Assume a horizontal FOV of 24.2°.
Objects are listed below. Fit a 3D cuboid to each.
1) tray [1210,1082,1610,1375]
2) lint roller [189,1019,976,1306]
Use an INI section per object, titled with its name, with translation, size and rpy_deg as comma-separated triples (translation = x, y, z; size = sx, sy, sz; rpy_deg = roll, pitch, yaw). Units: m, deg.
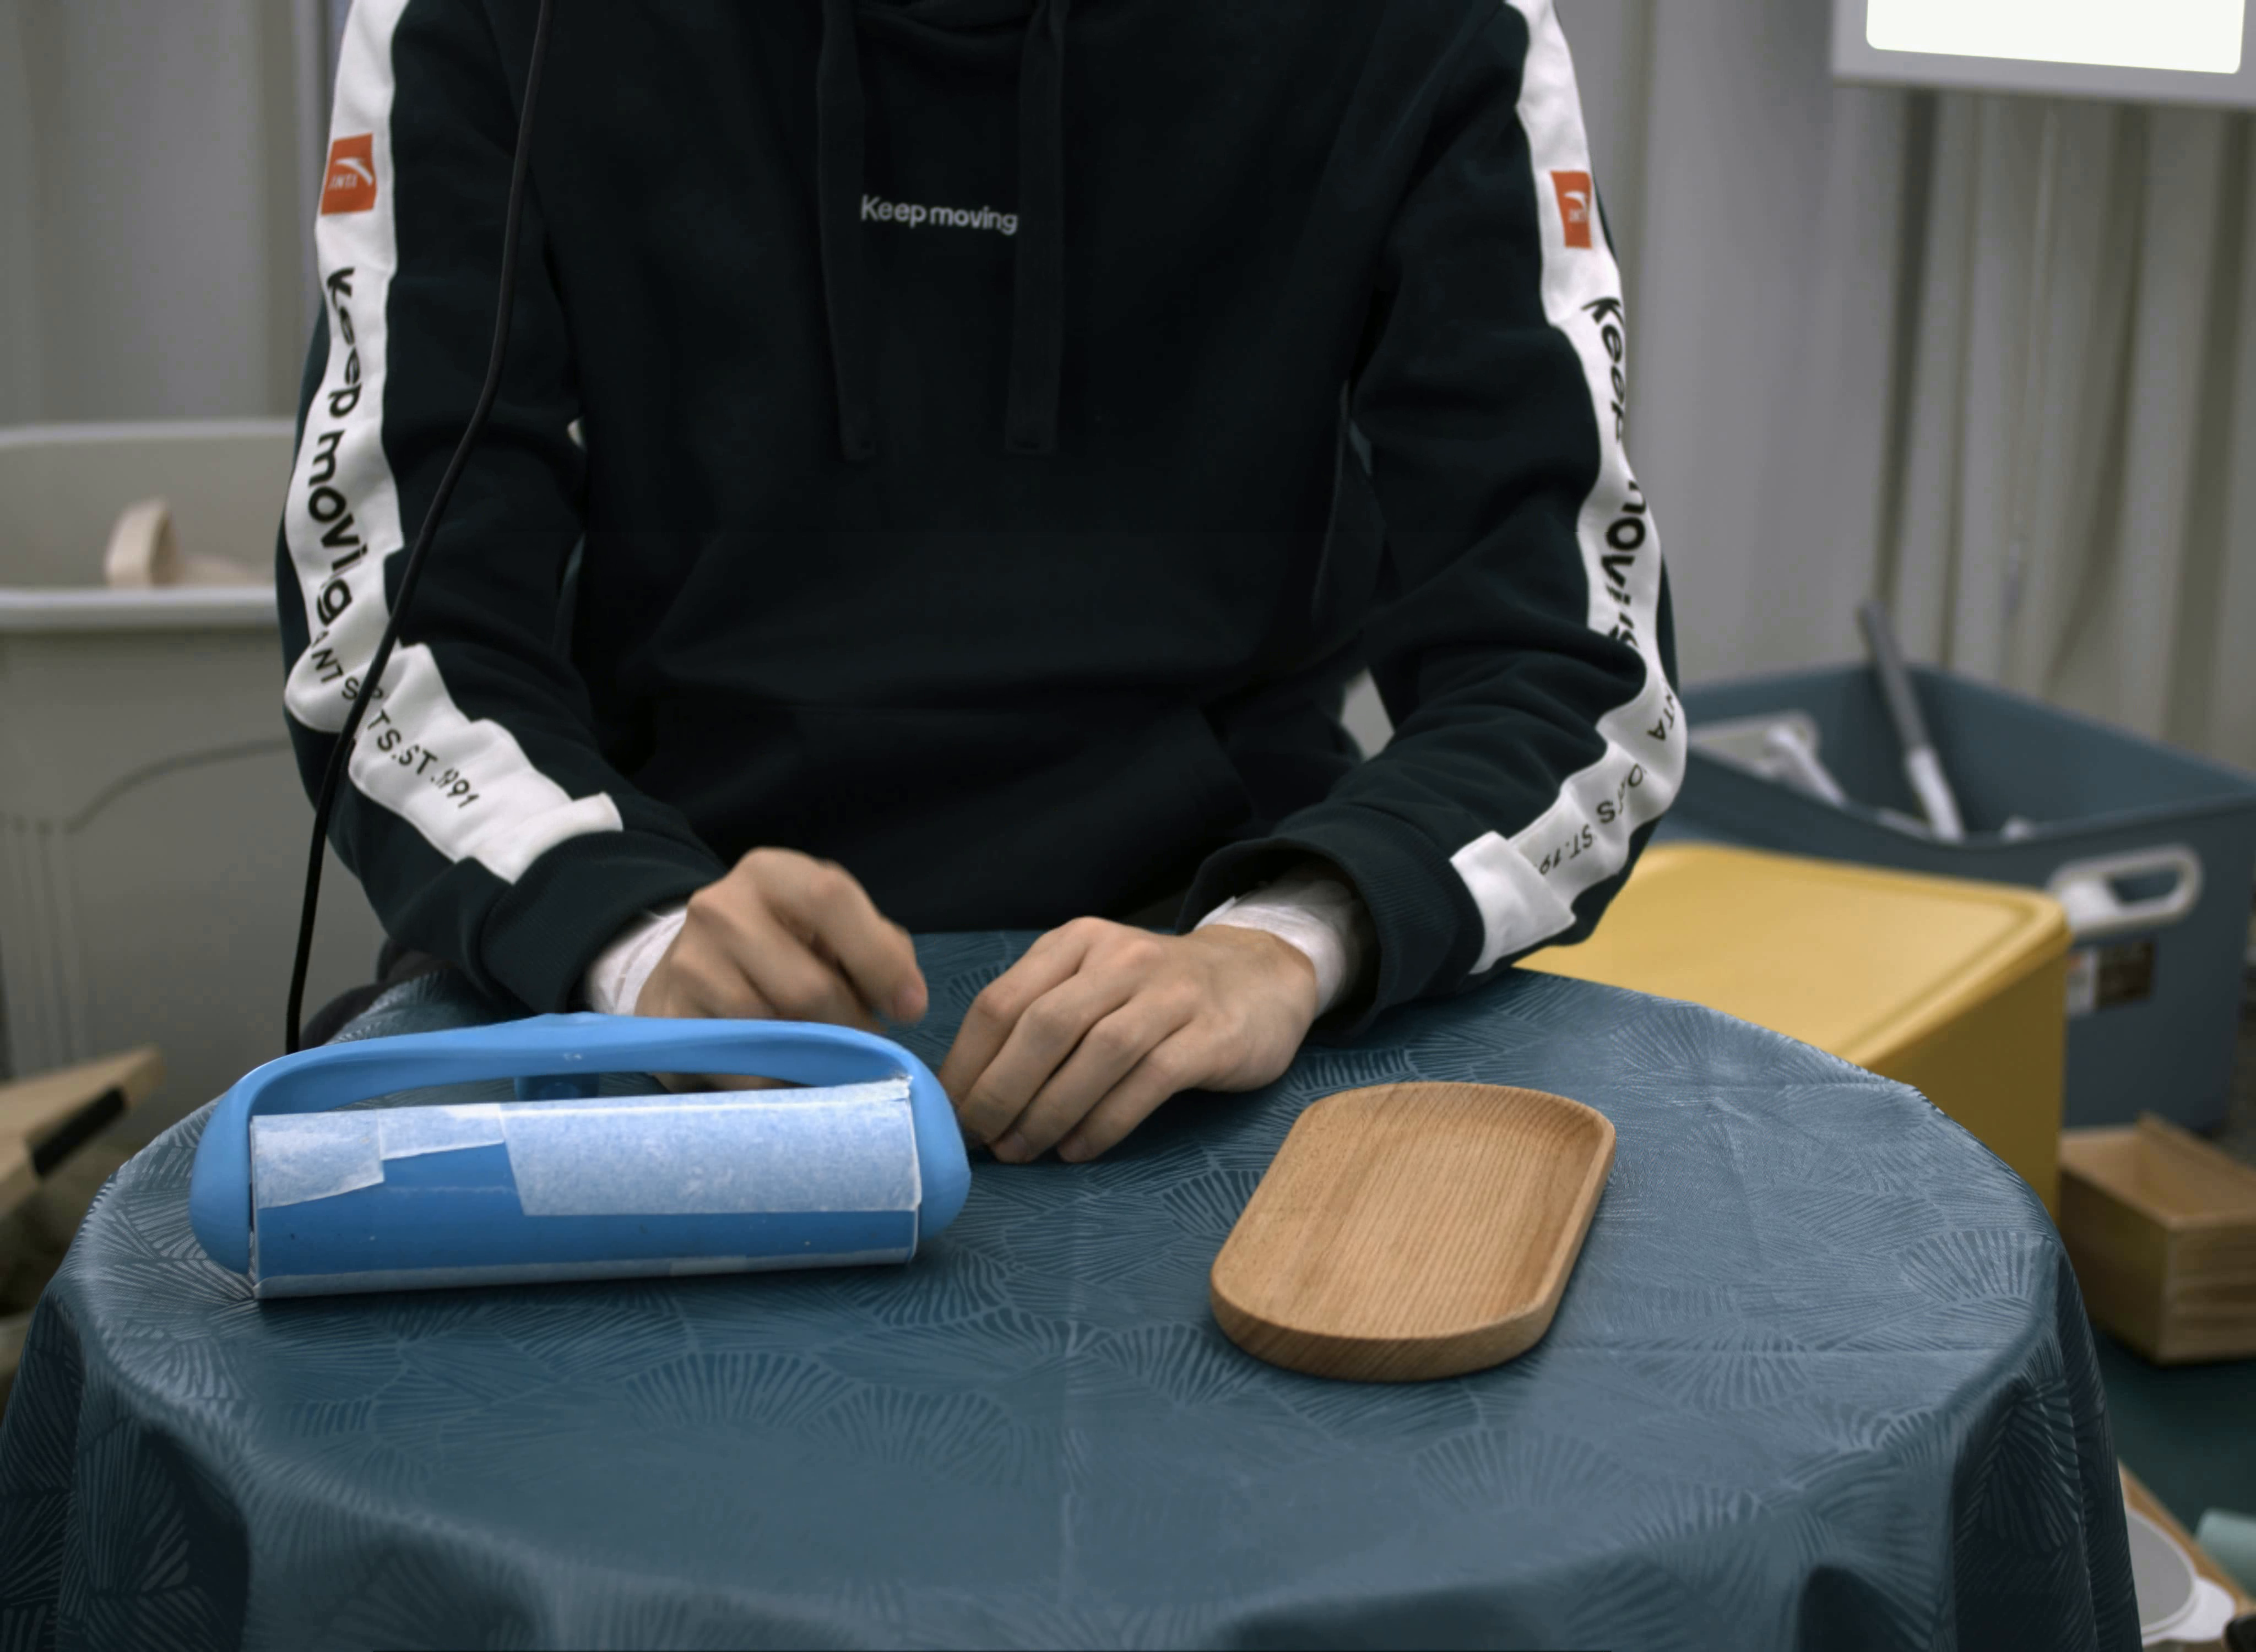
[tray]
translation = 0.086, 0.118, 1.573
size = 0.101, 0.020, 0.231
rpy_deg = 5, 14, 10
[lint roller]
translation = -0.170, 0.089, 1.590
size = 0.229, 0.068, 0.178
rpy_deg = -5, 18, -12
